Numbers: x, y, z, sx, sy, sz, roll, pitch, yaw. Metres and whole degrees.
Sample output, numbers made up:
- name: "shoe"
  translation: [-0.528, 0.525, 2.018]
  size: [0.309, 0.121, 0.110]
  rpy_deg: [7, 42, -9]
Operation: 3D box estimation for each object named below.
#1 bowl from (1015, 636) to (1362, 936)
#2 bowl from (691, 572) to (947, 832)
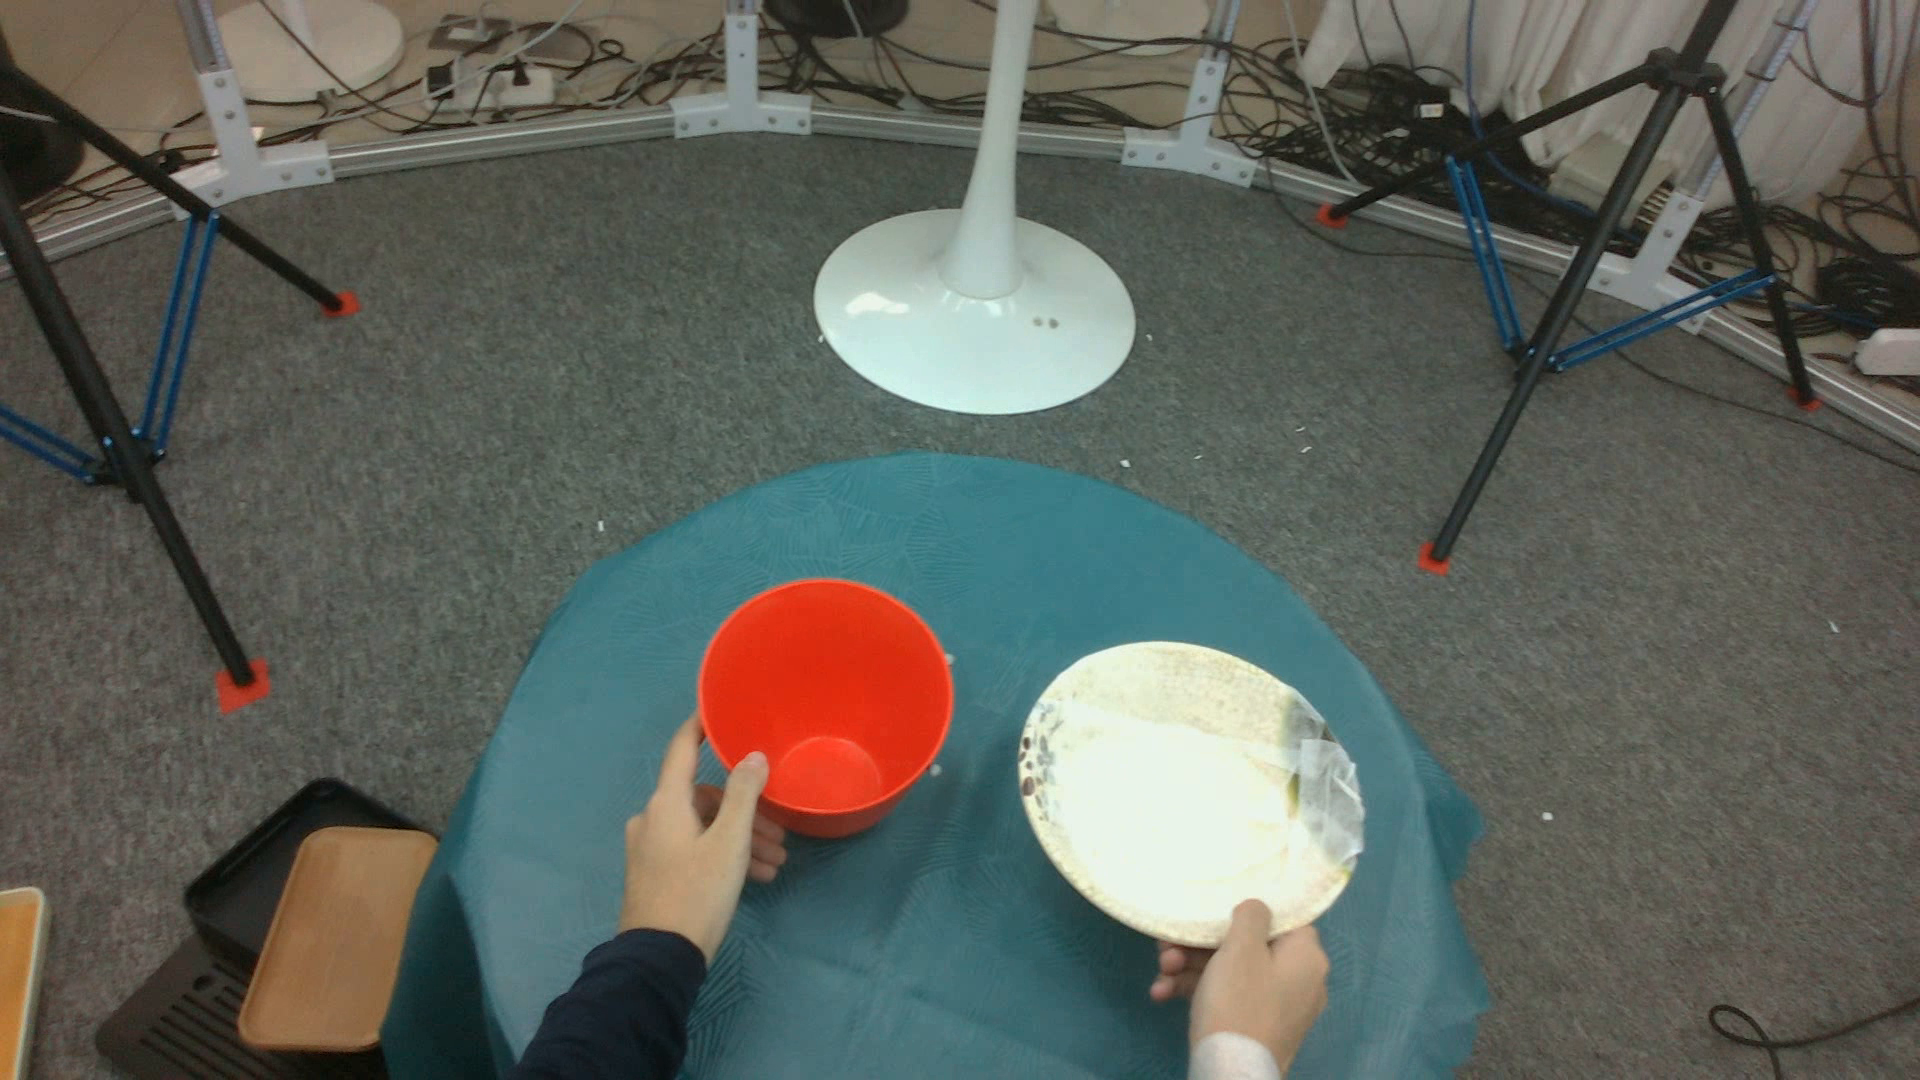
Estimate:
- name: "bowl"
  translation: [0.129, 0.159, 0.827]
  size: [0.204, 0.077, 0.205]
  rpy_deg: [4, 47, -5]
- name: "bowl"
  translation: [-0.085, 0.109, 0.825]
  size: [0.148, 0.104, 0.148]
  rpy_deg: [5, 49, -5]
